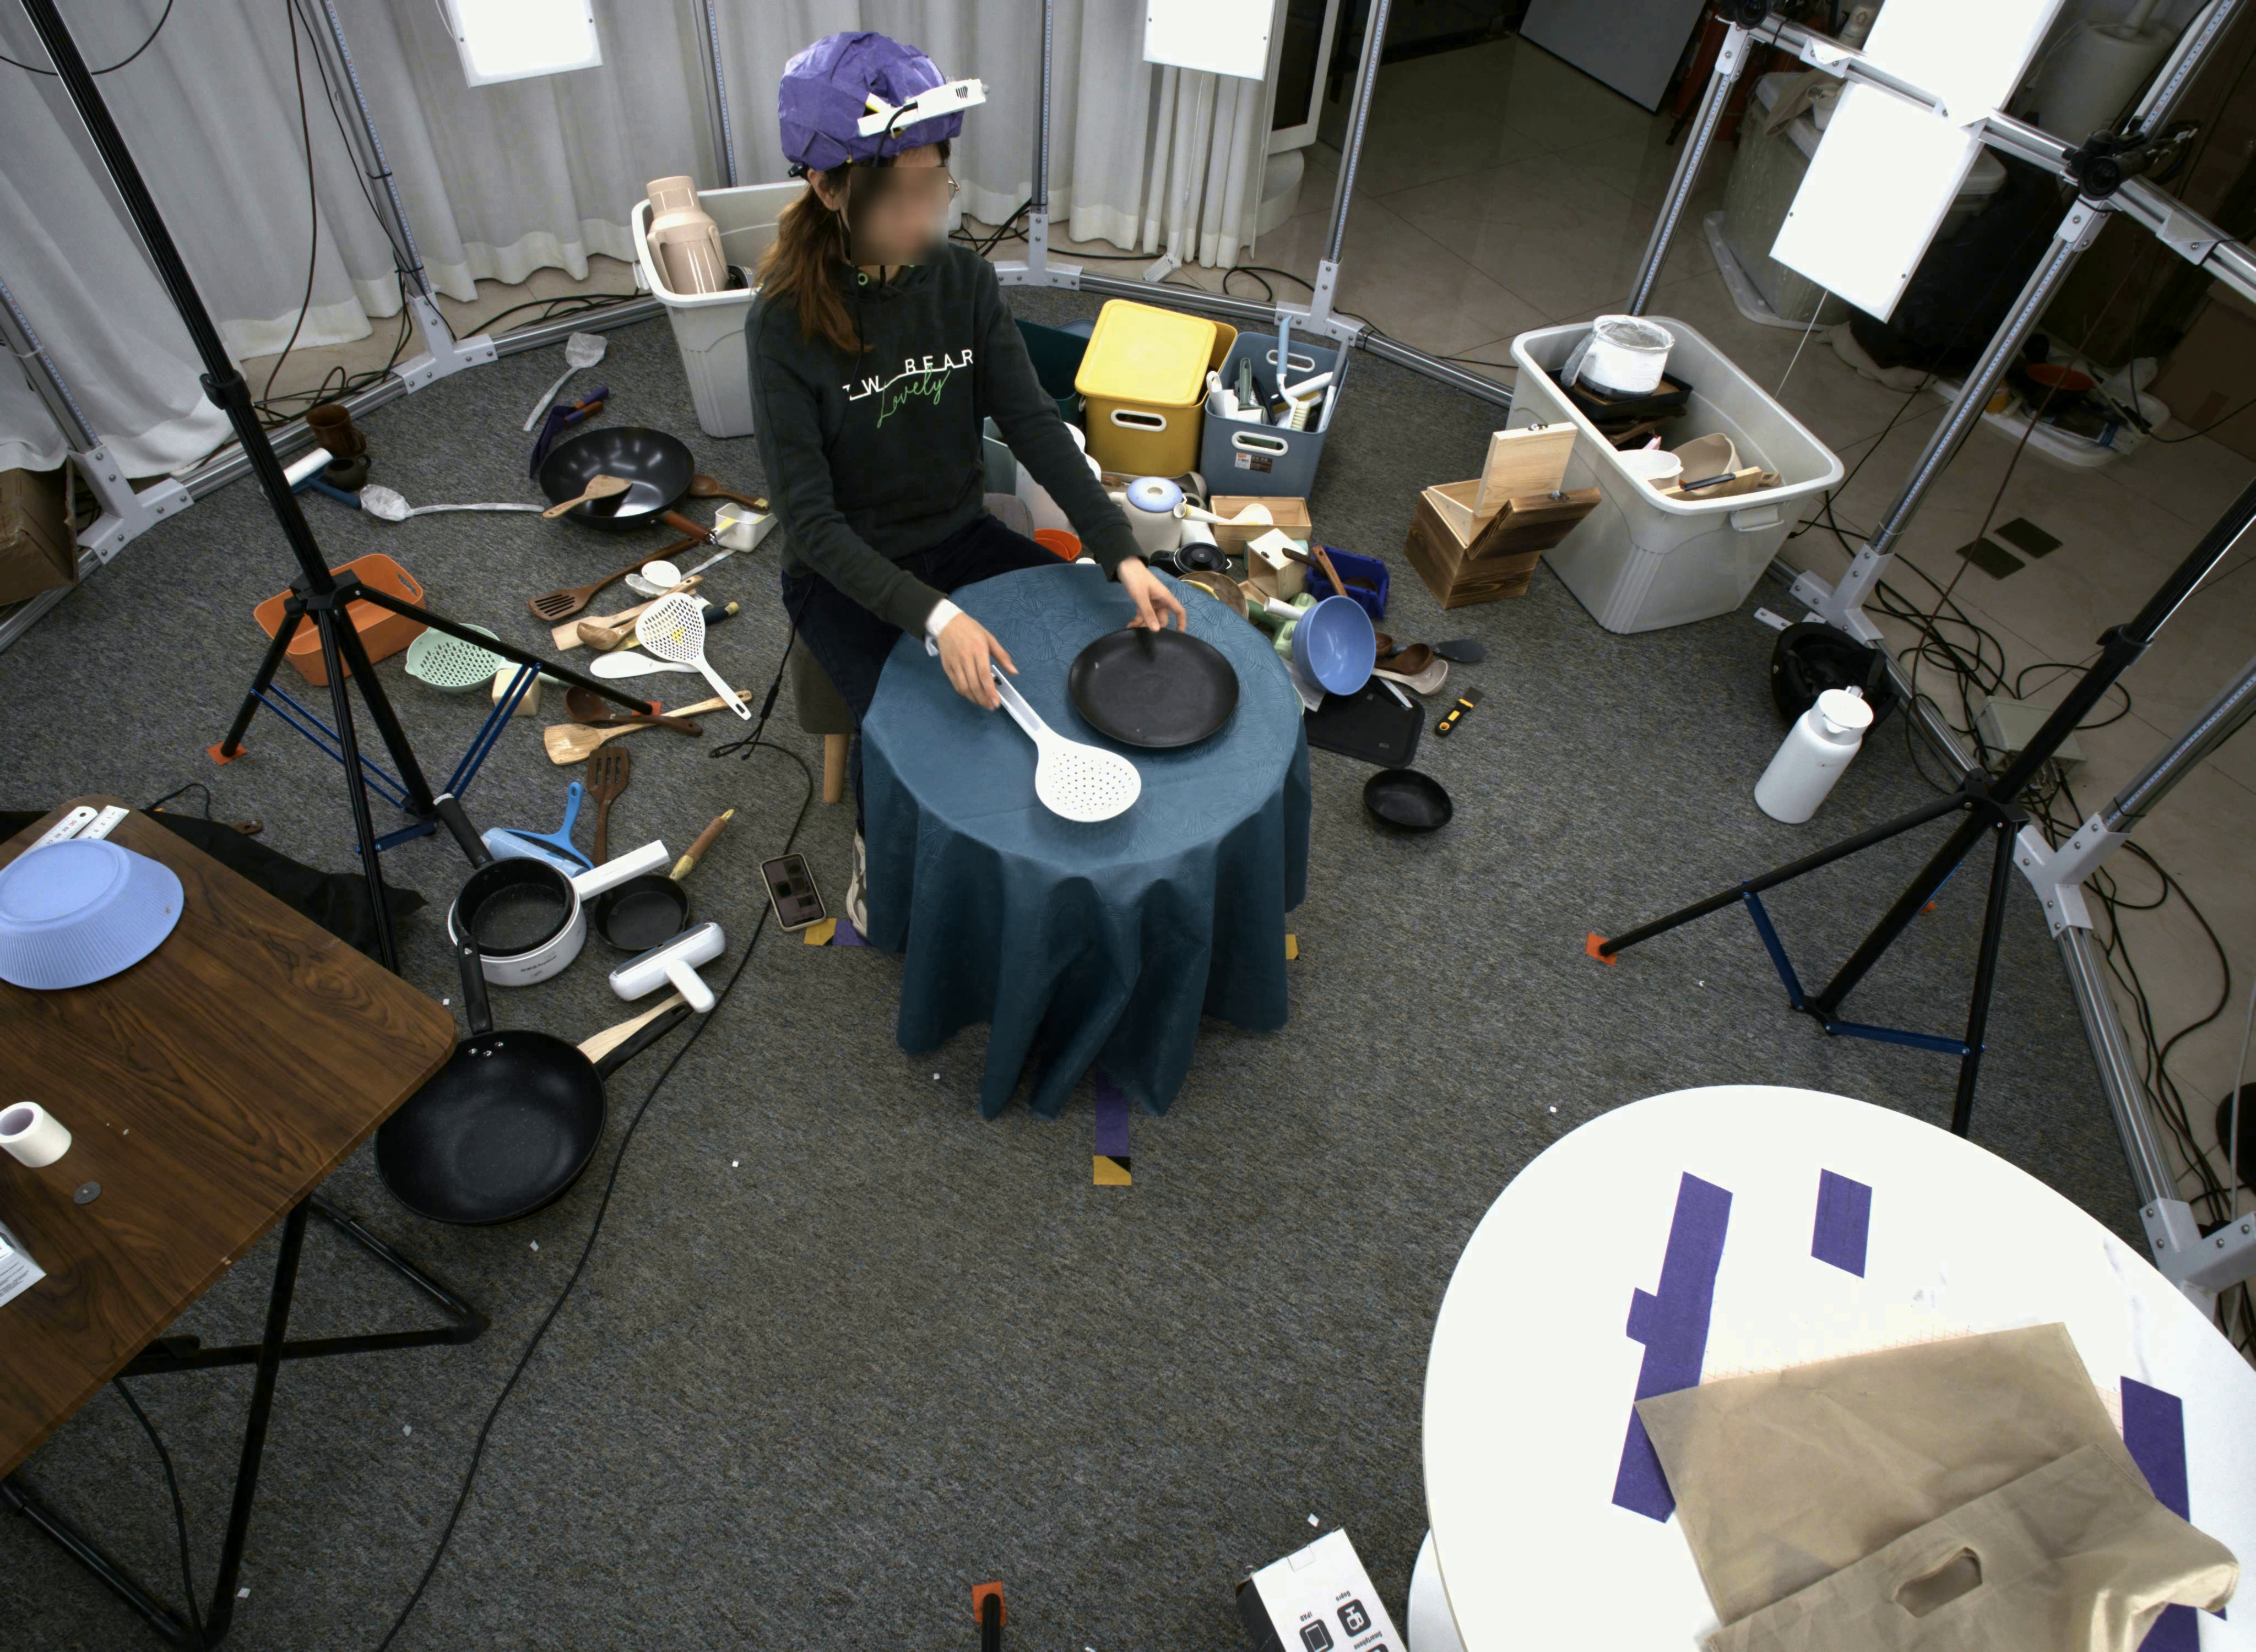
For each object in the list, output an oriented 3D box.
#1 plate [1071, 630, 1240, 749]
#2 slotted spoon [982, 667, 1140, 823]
[{"bbox_3d":[0.038,-0.194,1.840,0.244,0.023,0.250,2,49,-2],"label":"plate"},{"bbox_3d":[-0.109,-0.116,1.748,0.136,0.044,0.357,-22,53,-24],"label":"slotted spoon"}]
